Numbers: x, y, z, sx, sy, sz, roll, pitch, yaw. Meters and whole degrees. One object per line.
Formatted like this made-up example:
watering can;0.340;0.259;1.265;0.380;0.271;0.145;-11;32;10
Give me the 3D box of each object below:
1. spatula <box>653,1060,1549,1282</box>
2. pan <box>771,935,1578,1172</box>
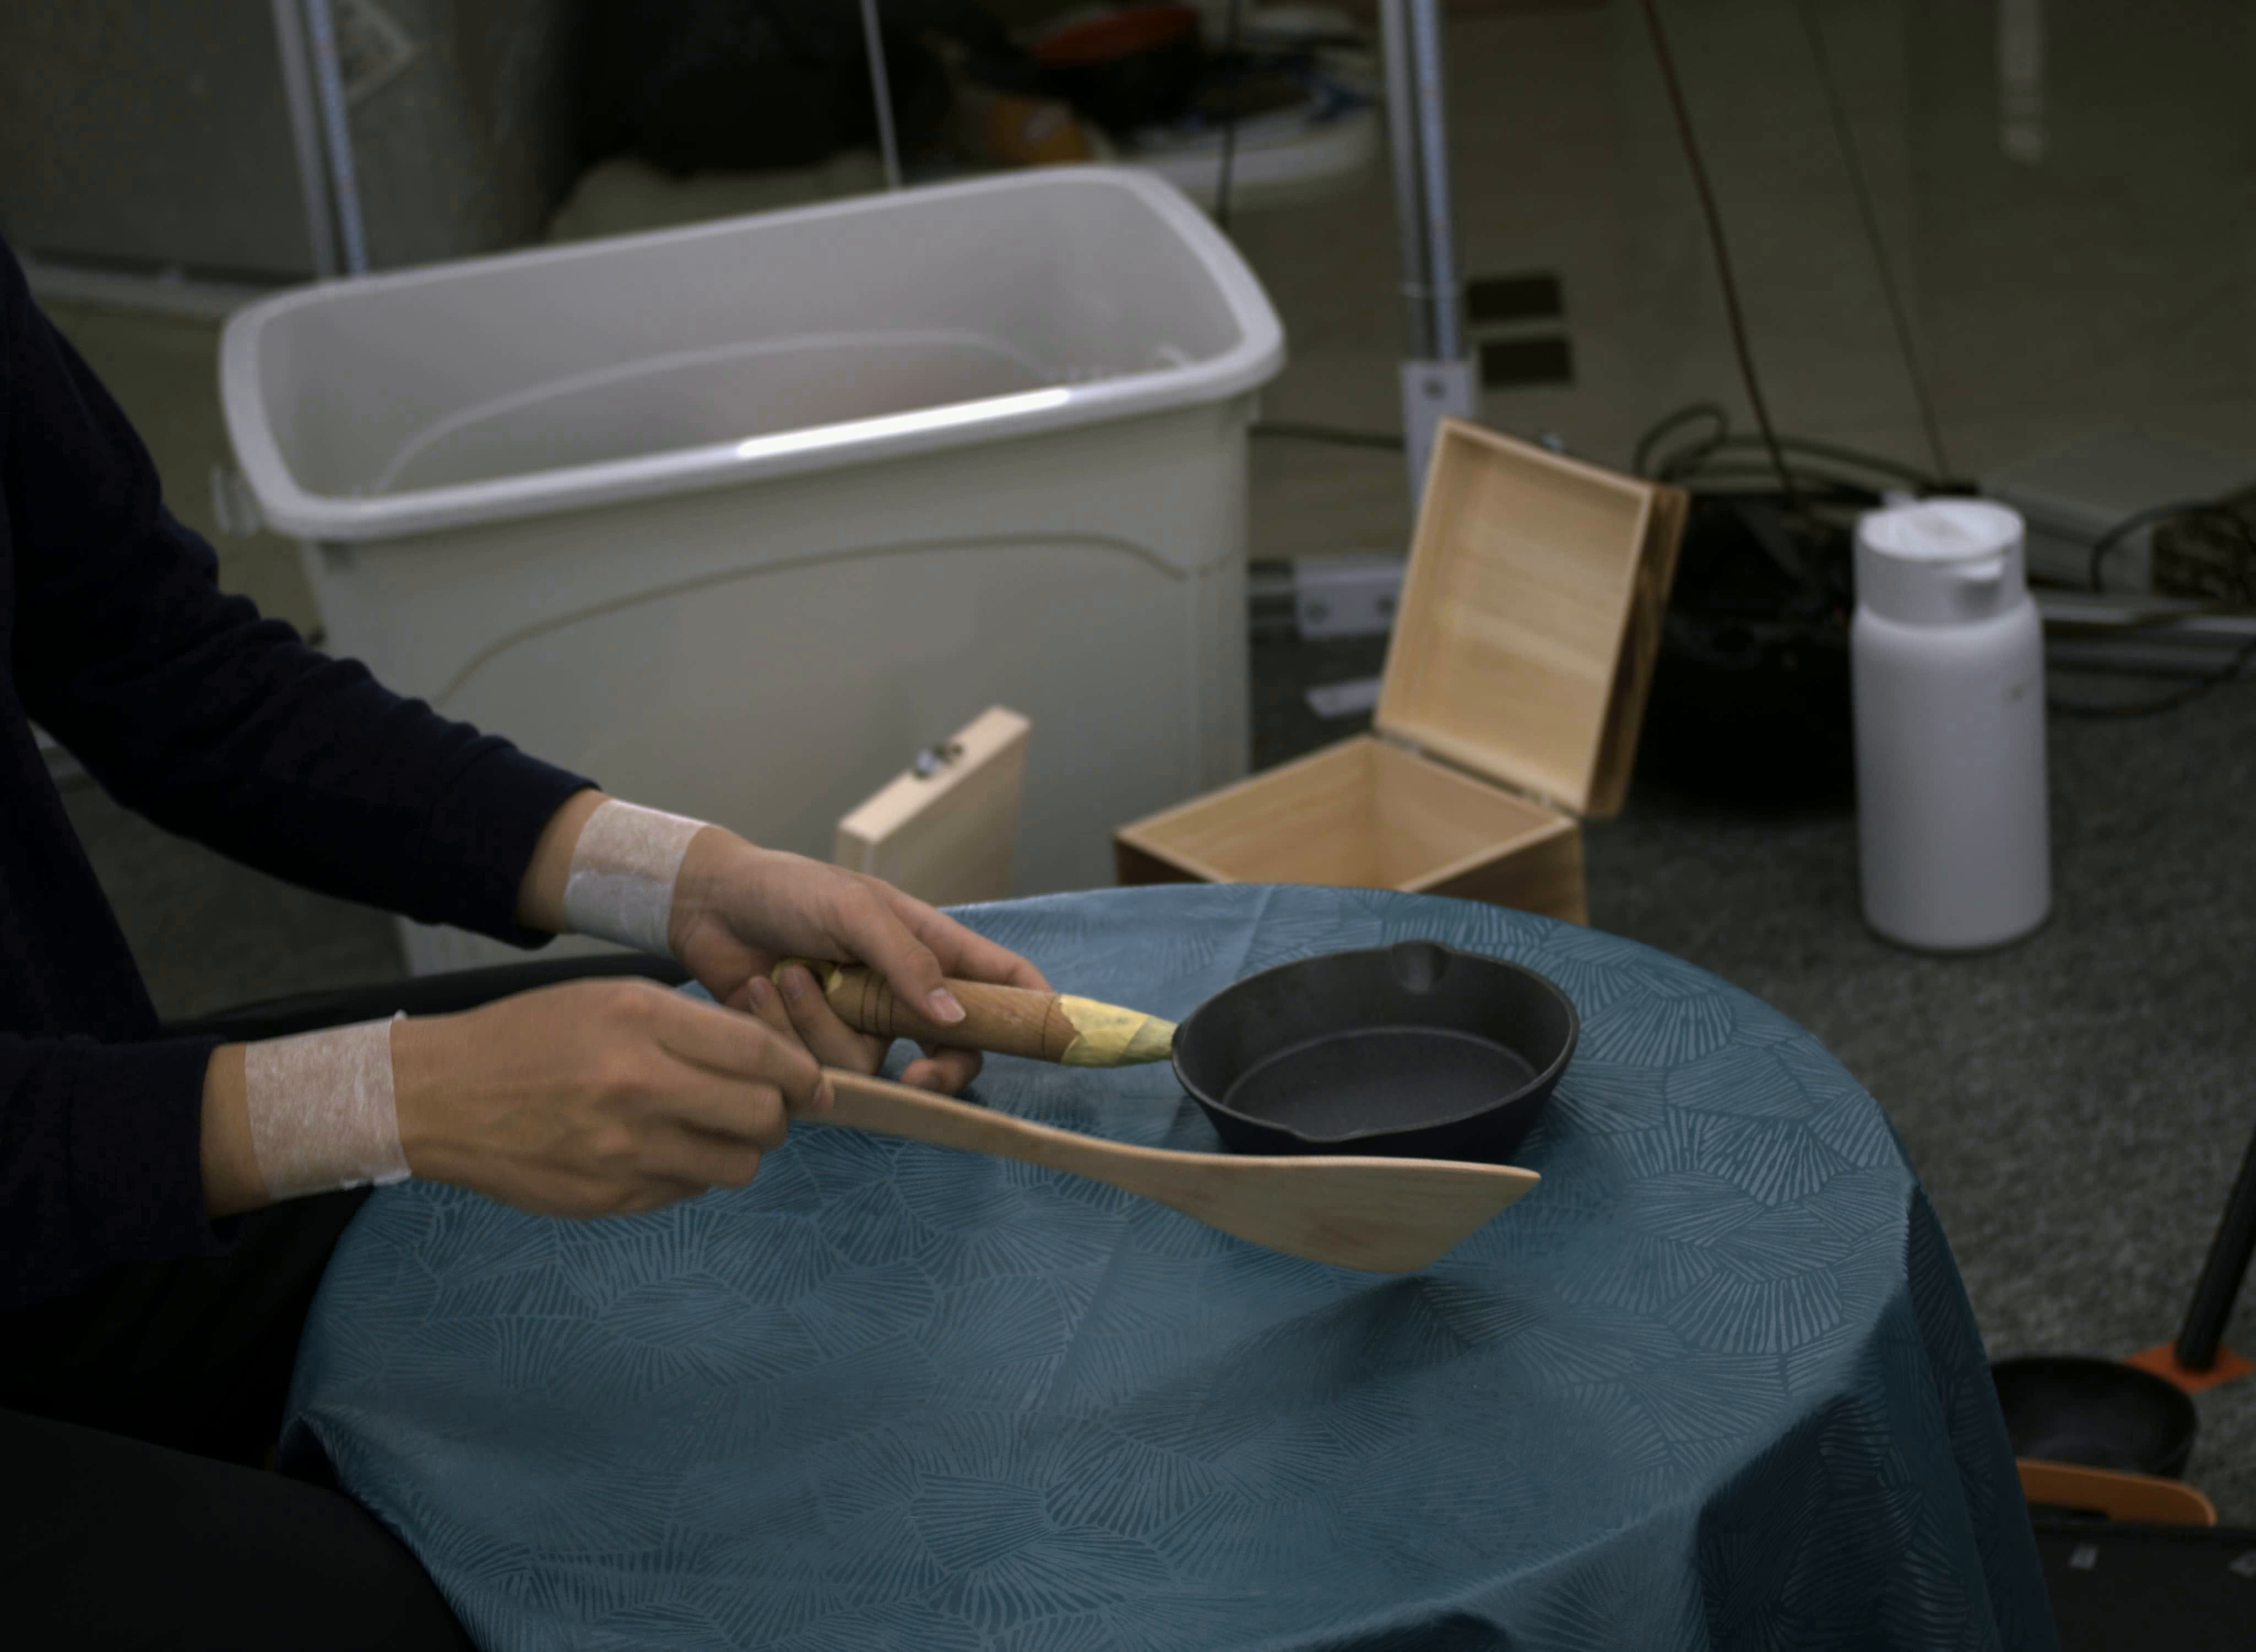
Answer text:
spatula;-0.012;0.116;1.983;0.328;0.081;0.016;13;51;-21
pan;0.015;0.083;2.202;0.323;0.050;0.166;4;27;18
